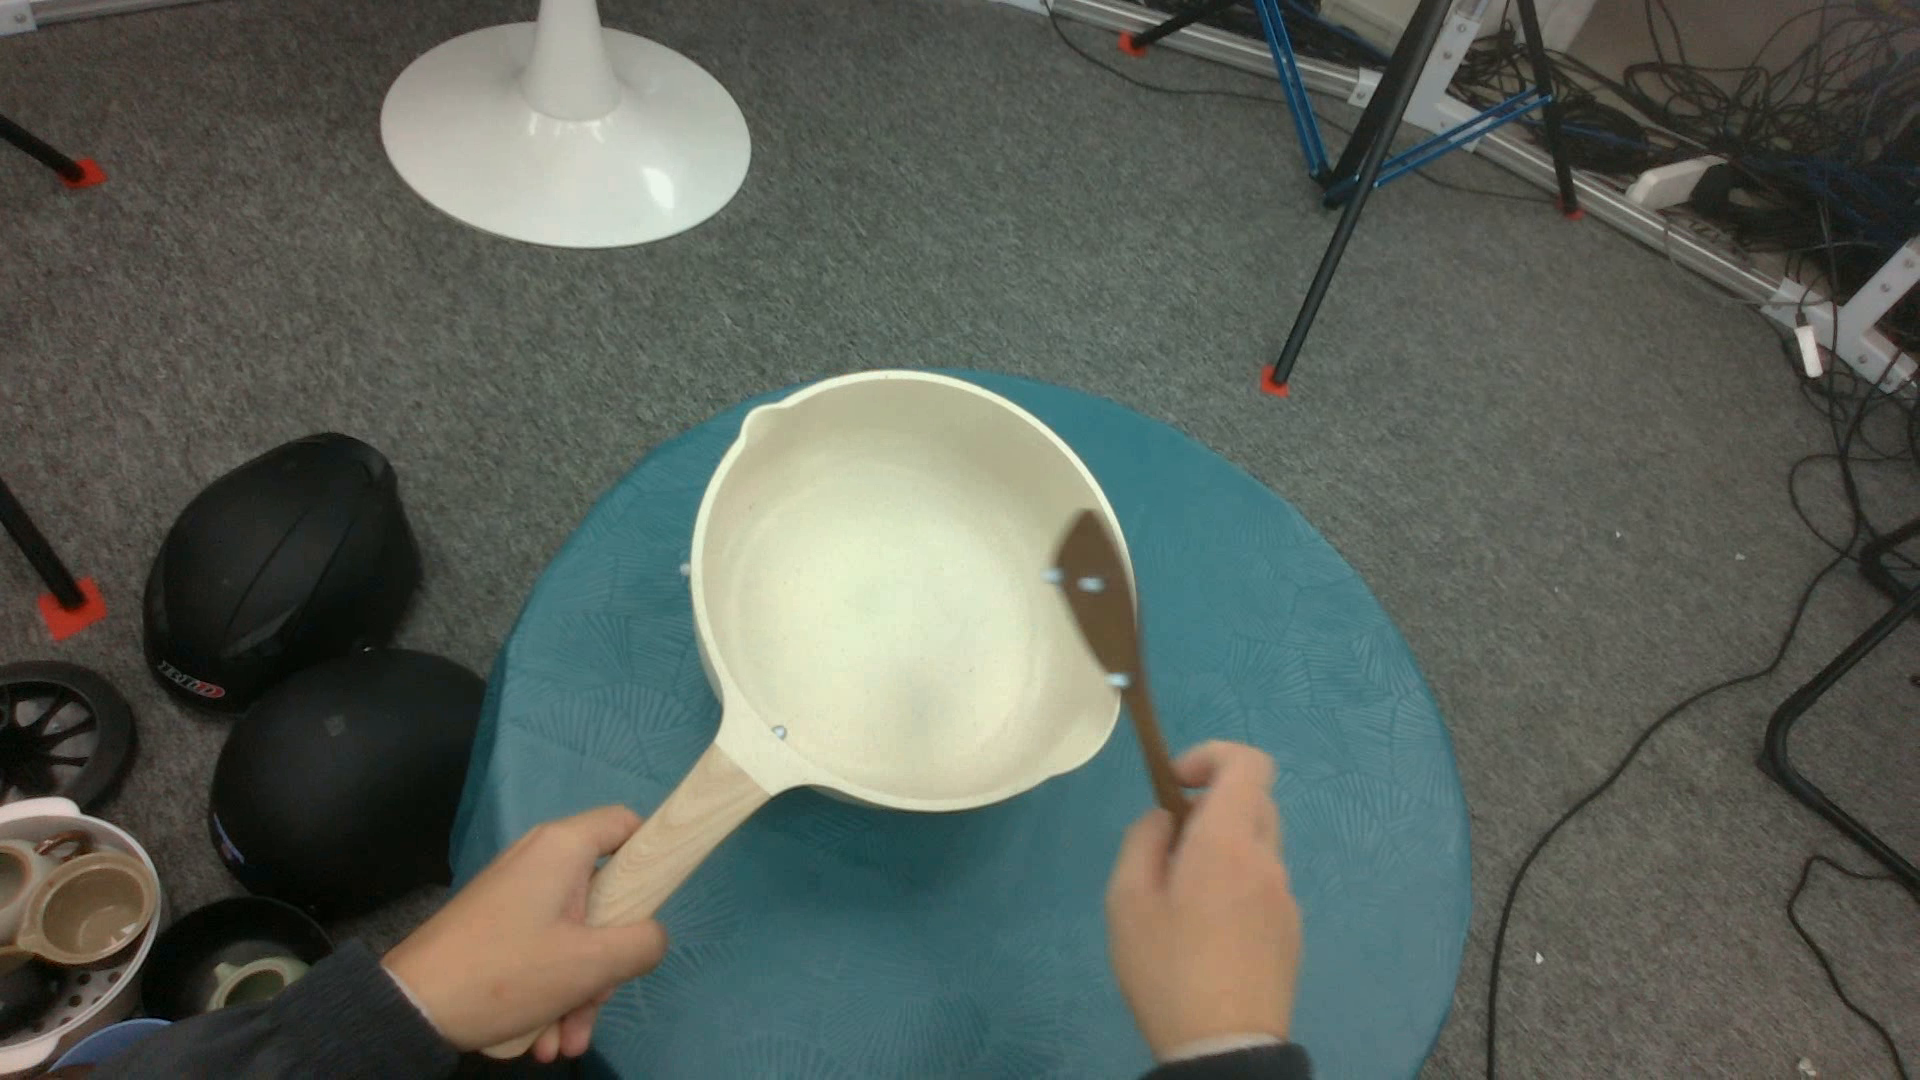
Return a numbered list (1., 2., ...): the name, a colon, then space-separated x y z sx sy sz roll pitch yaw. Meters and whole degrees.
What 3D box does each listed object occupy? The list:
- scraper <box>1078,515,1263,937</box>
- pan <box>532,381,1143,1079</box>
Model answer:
1. scraper: 0.104 0.090 0.677 0.011 0.075 0.212 -9 64 -20
2. pan: -0.073 0.100 0.736 0.263 0.101 0.437 40 62 -1
